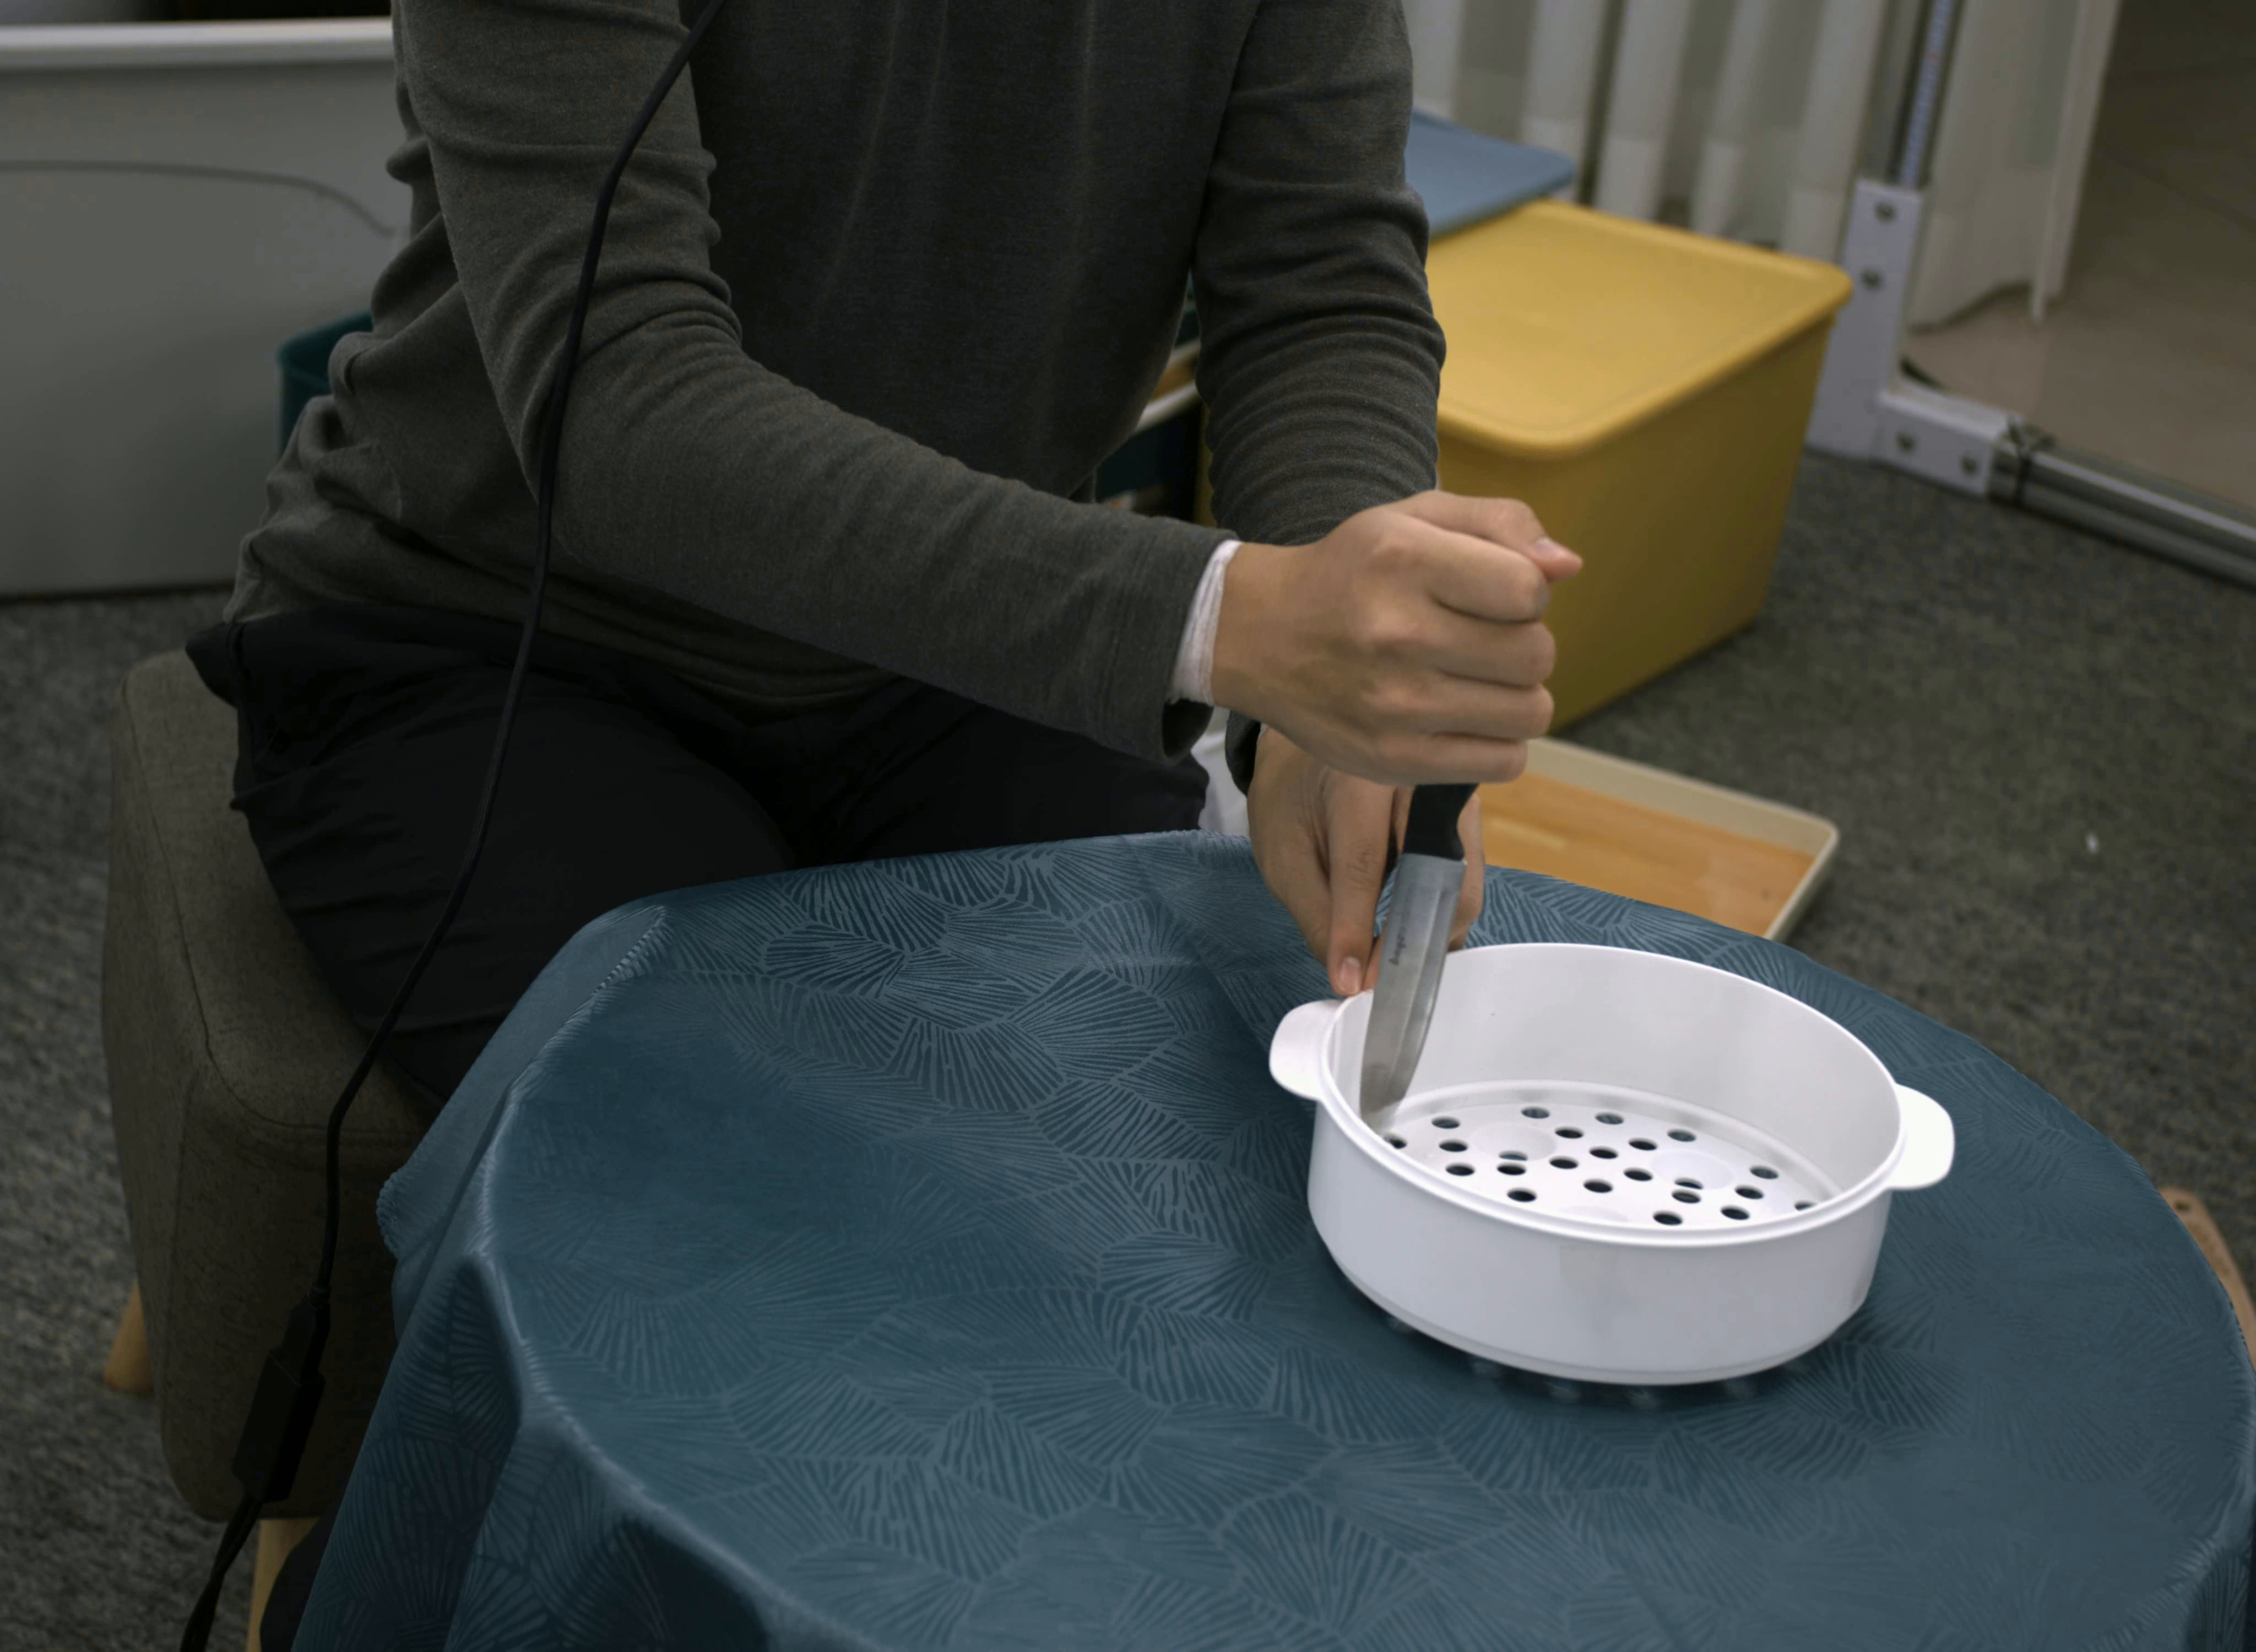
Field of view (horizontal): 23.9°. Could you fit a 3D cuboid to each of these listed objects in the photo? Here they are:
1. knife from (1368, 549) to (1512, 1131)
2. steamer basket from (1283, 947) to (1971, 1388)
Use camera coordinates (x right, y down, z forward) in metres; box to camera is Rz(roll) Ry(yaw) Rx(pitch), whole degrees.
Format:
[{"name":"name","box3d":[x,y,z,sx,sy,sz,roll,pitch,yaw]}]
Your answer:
[{"name":"knife","box3d":[0.098,0.014,1.759,0.024,0.237,0.016,16,29,14]},{"name":"steamer basket","box3d":[0.164,0.114,1.784,0.230,0.069,0.202,8,26,8]}]
